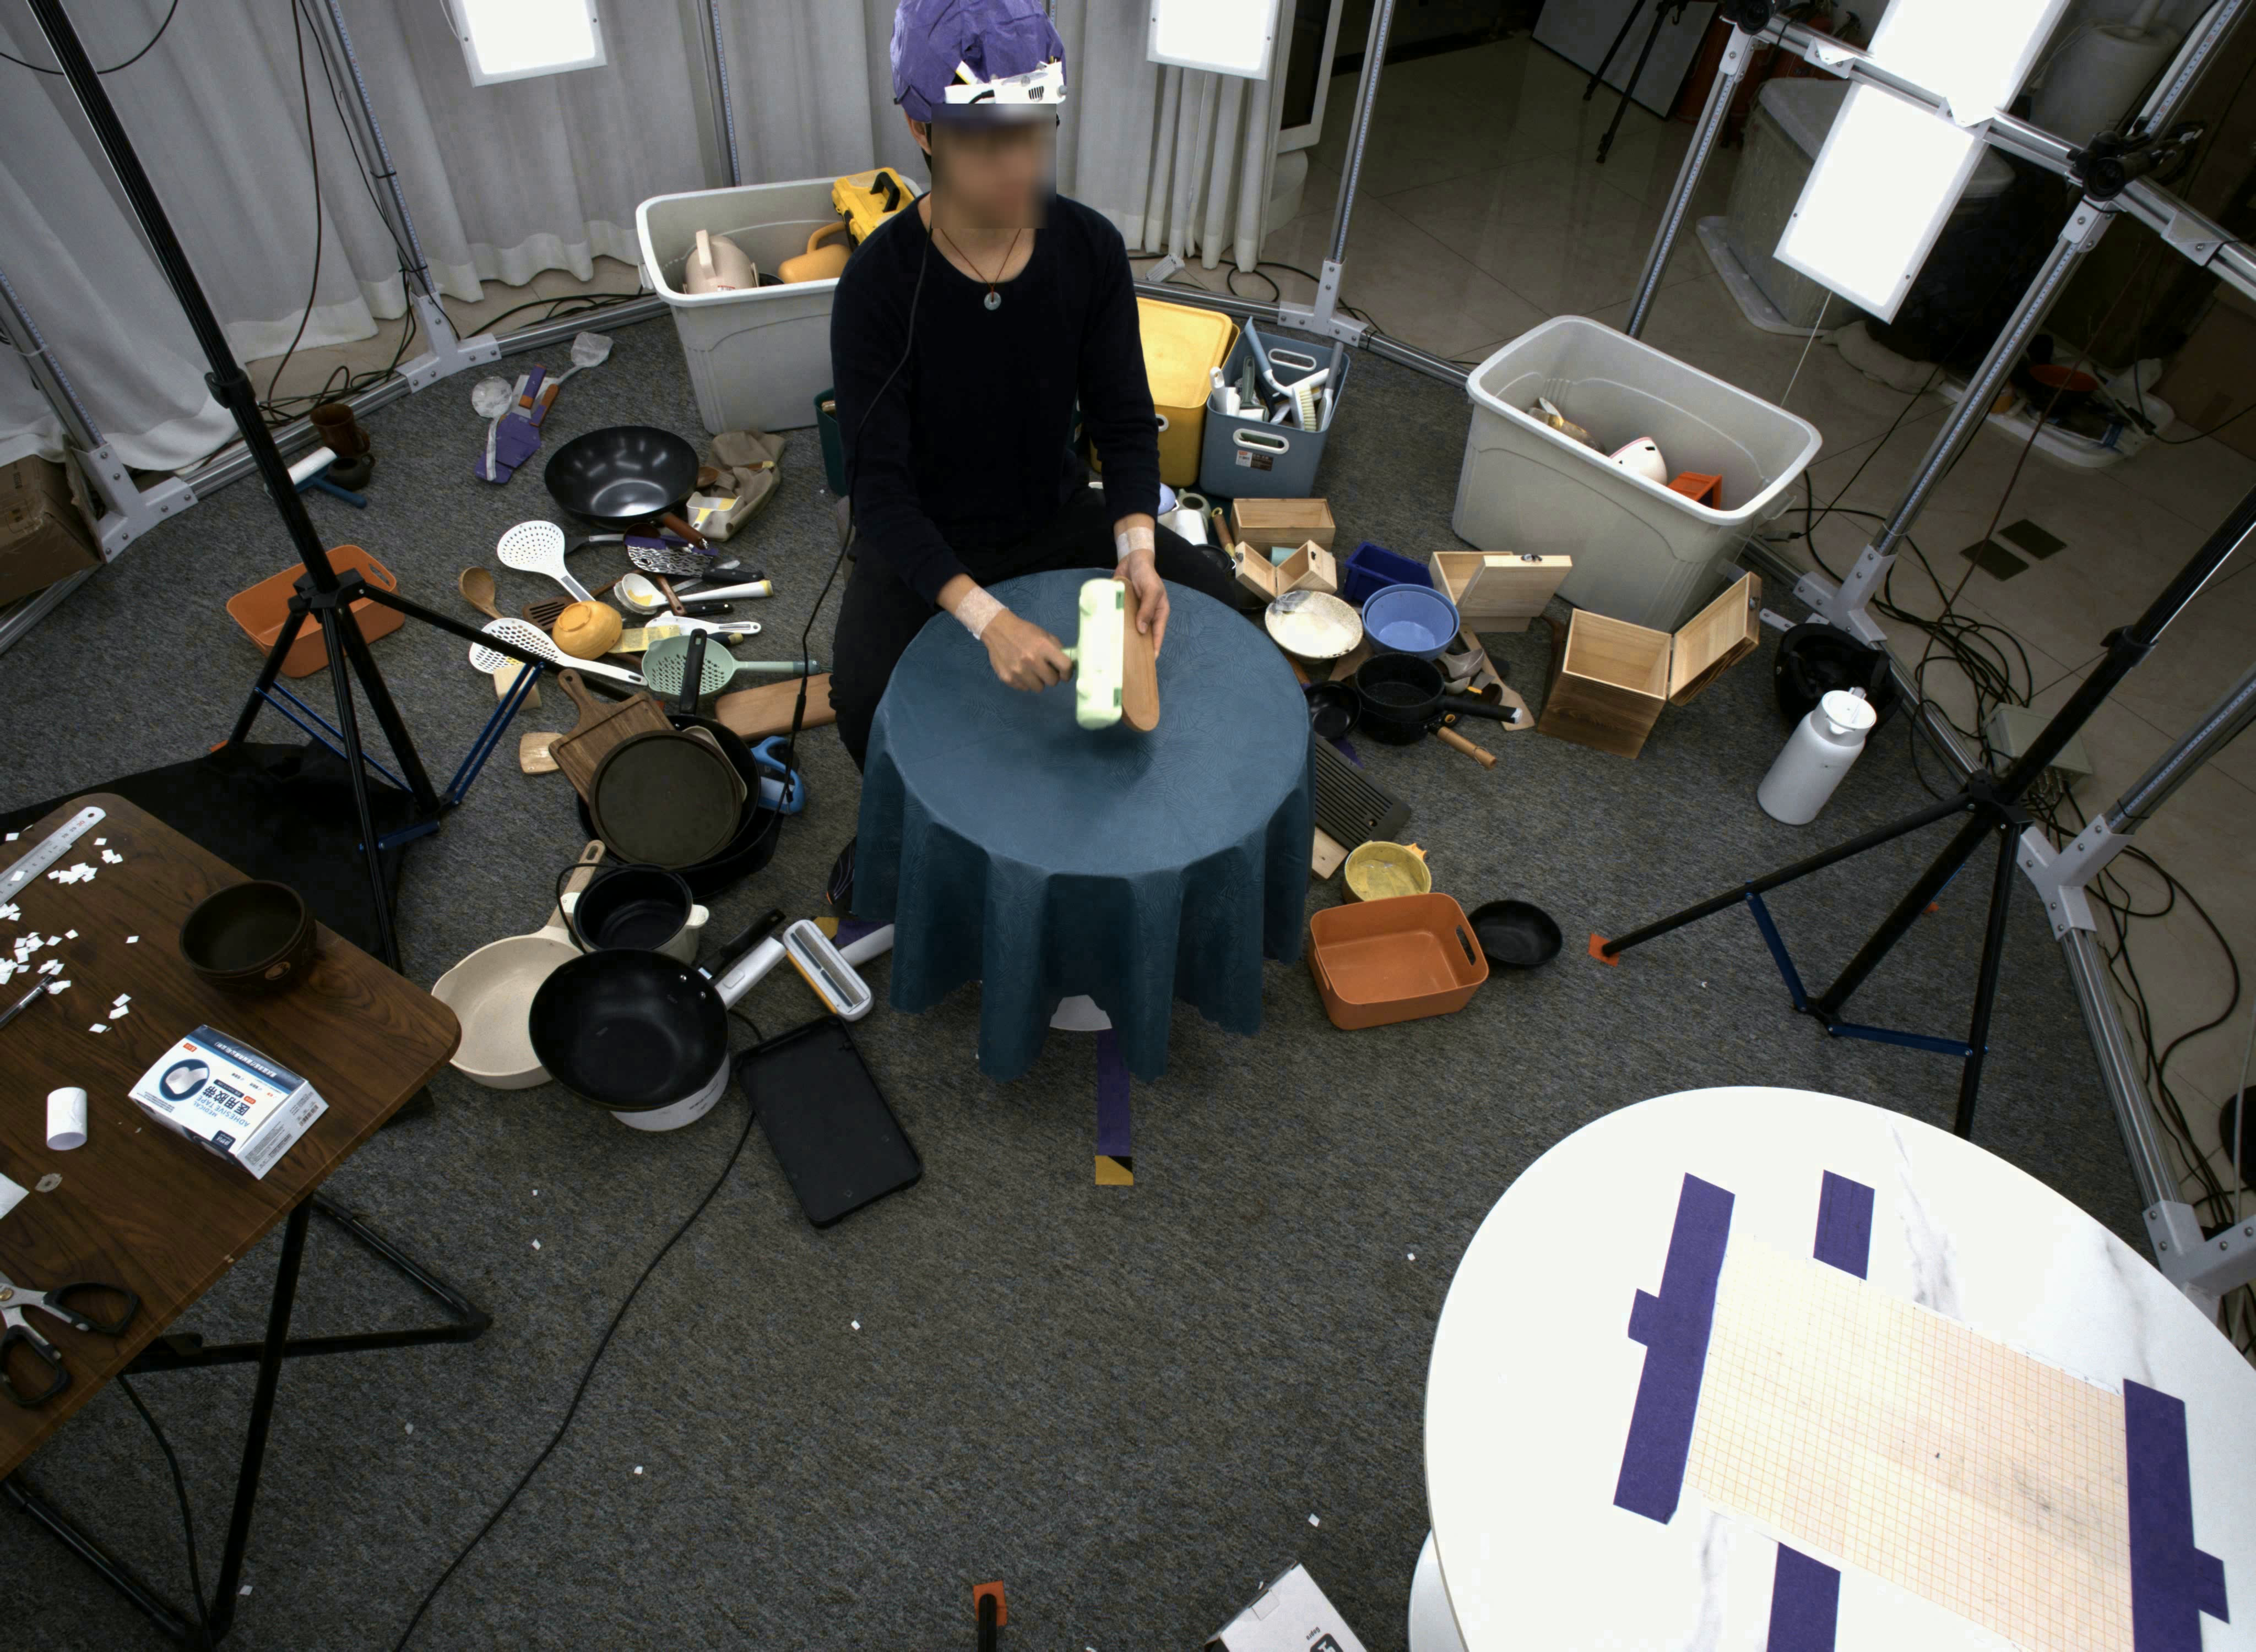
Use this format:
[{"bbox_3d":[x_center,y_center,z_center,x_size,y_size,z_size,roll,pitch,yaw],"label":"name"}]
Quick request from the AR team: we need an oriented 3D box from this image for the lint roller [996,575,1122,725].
[{"bbox_3d":[-0.096,-0.231,1.693,0.183,0.081,0.201,-4,72,12],"label":"lint roller"}]

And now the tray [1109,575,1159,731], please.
[{"bbox_3d":[0.002,-0.236,1.751,0.020,0.100,0.235,-20,64,29],"label":"tray"}]
